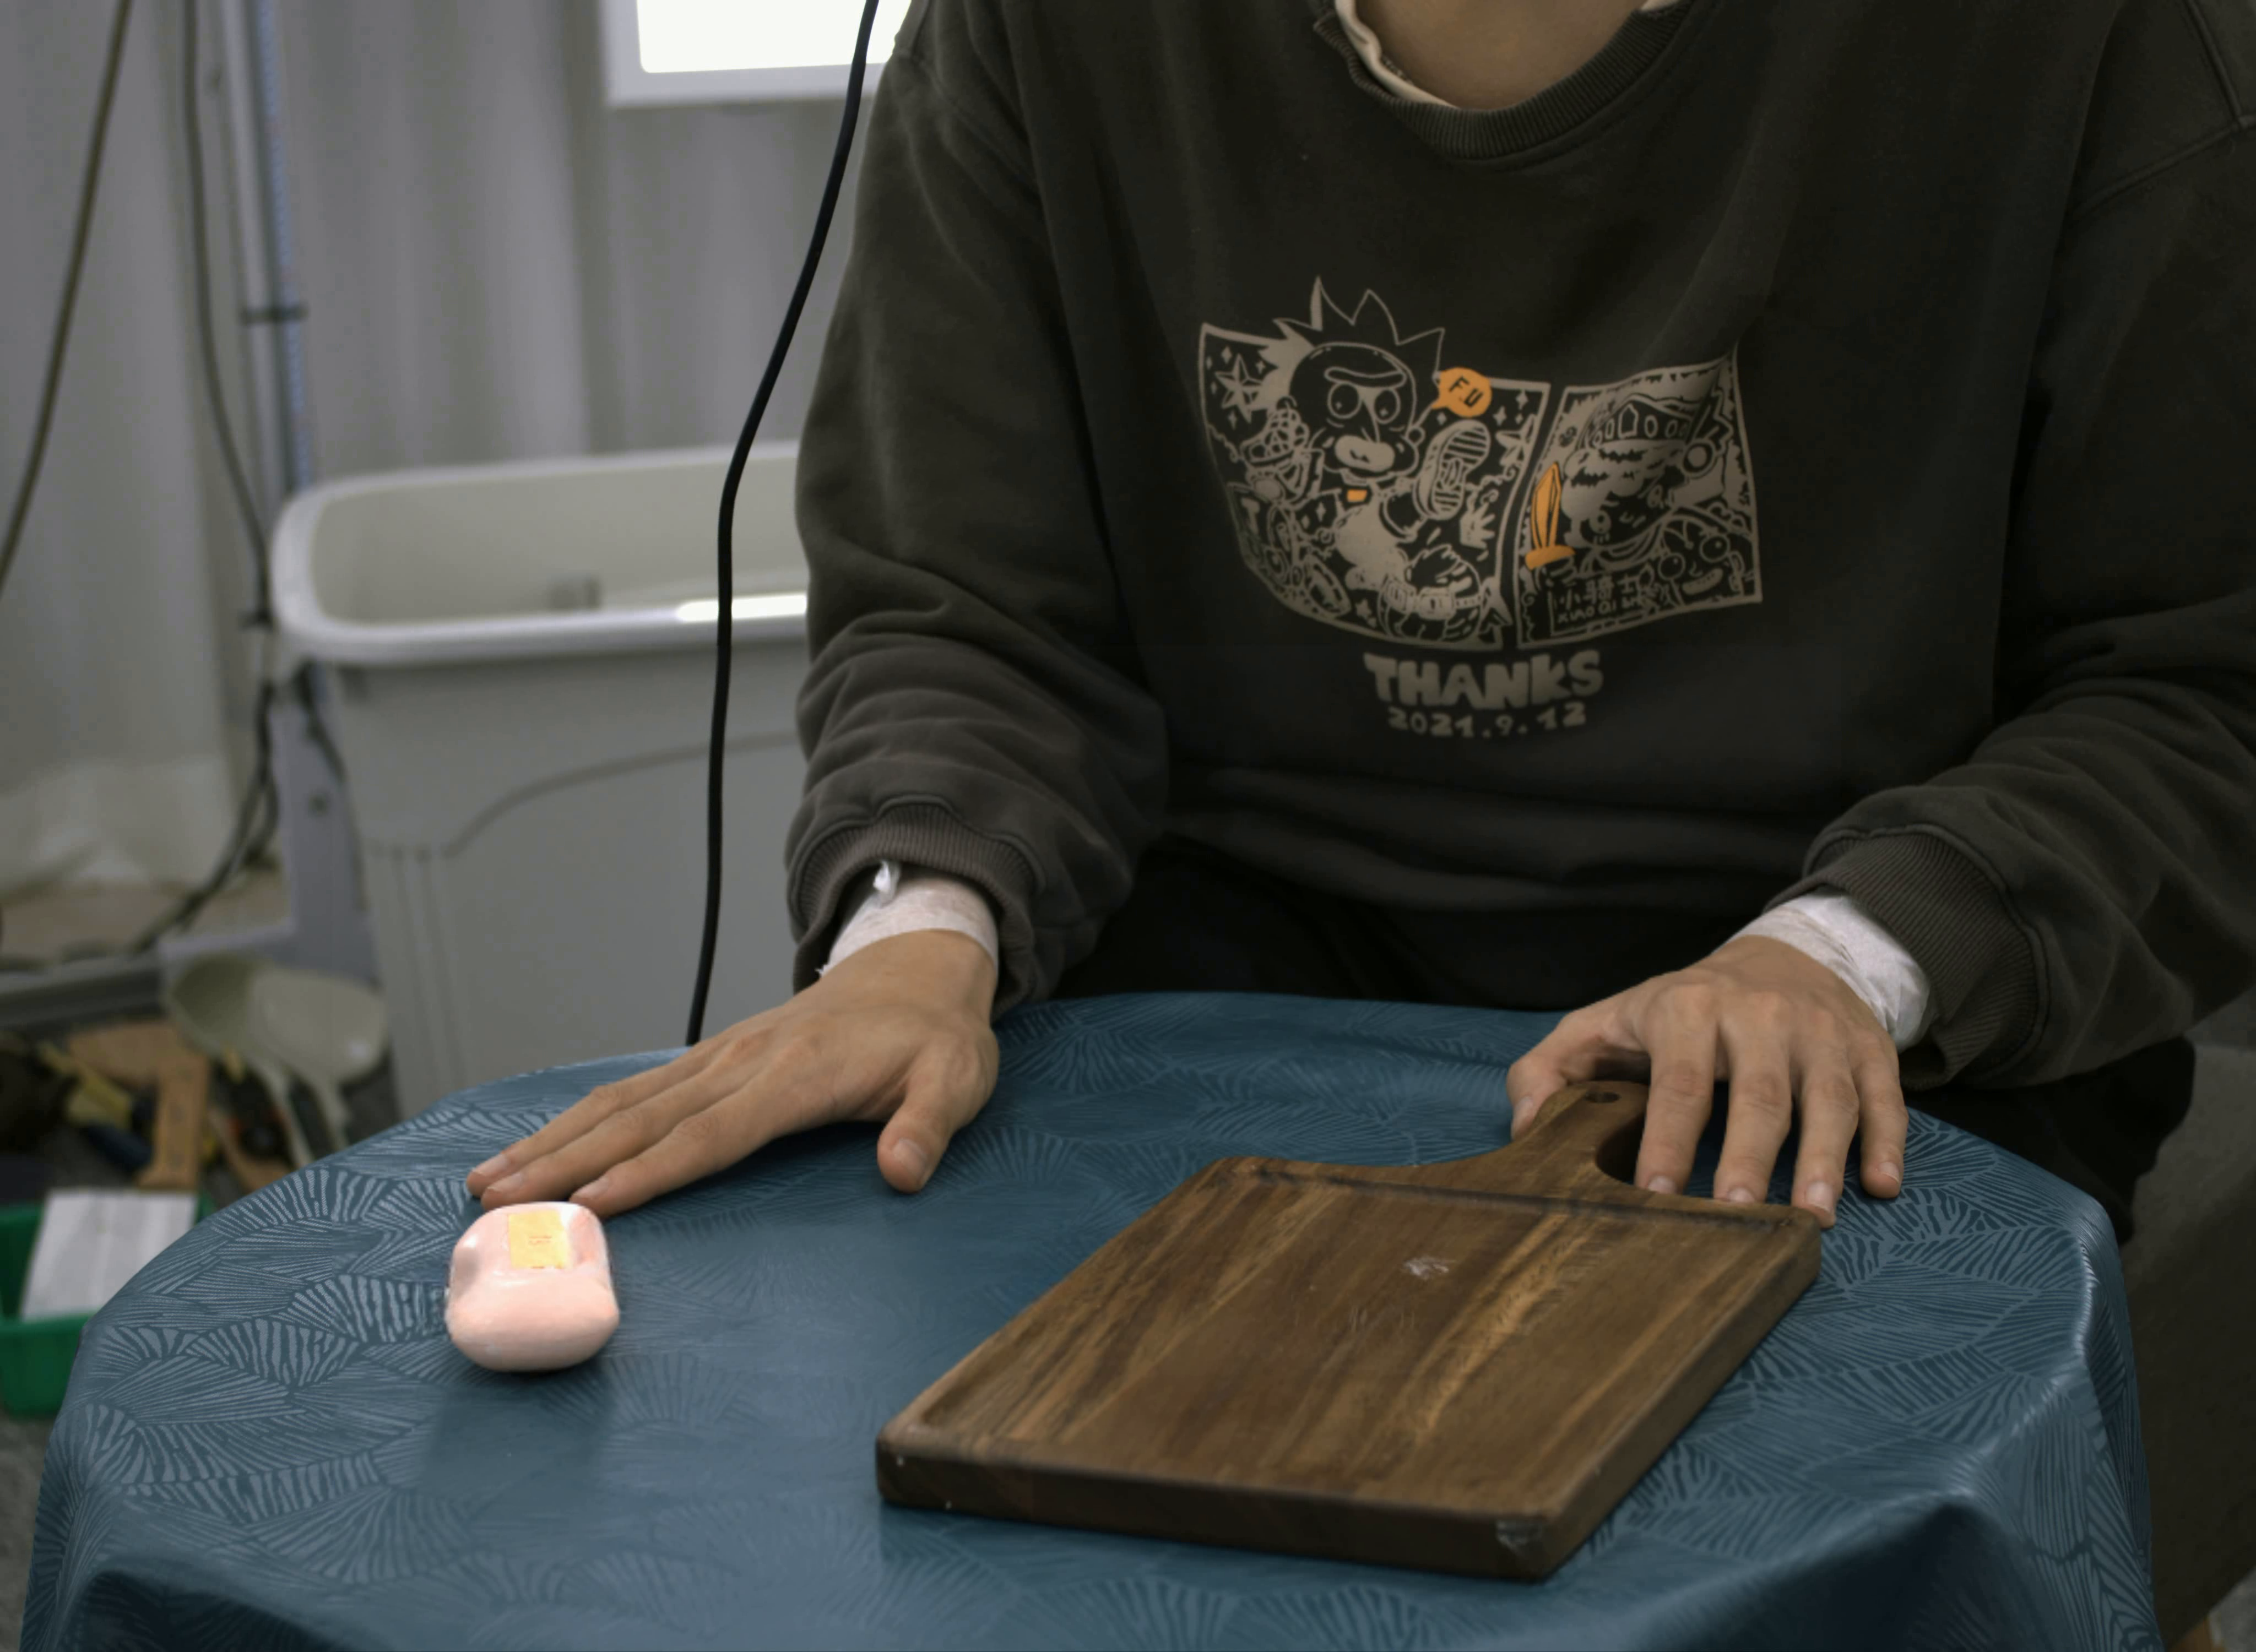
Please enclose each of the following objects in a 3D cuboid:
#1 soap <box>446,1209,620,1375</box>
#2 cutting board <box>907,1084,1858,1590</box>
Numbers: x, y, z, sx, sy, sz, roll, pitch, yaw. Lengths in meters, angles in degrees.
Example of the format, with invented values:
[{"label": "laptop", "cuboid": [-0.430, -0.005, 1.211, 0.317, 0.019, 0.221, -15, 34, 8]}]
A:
[{"label": "soap", "cuboid": [-0.175, 0.138, 1.619, 0.050, 0.030, 0.095, -3, 13, -4]}, {"label": "cutting board", "cuboid": [0.097, 0.137, 1.581, 0.201, 0.023, 0.353, 4, 16, 24]}]
